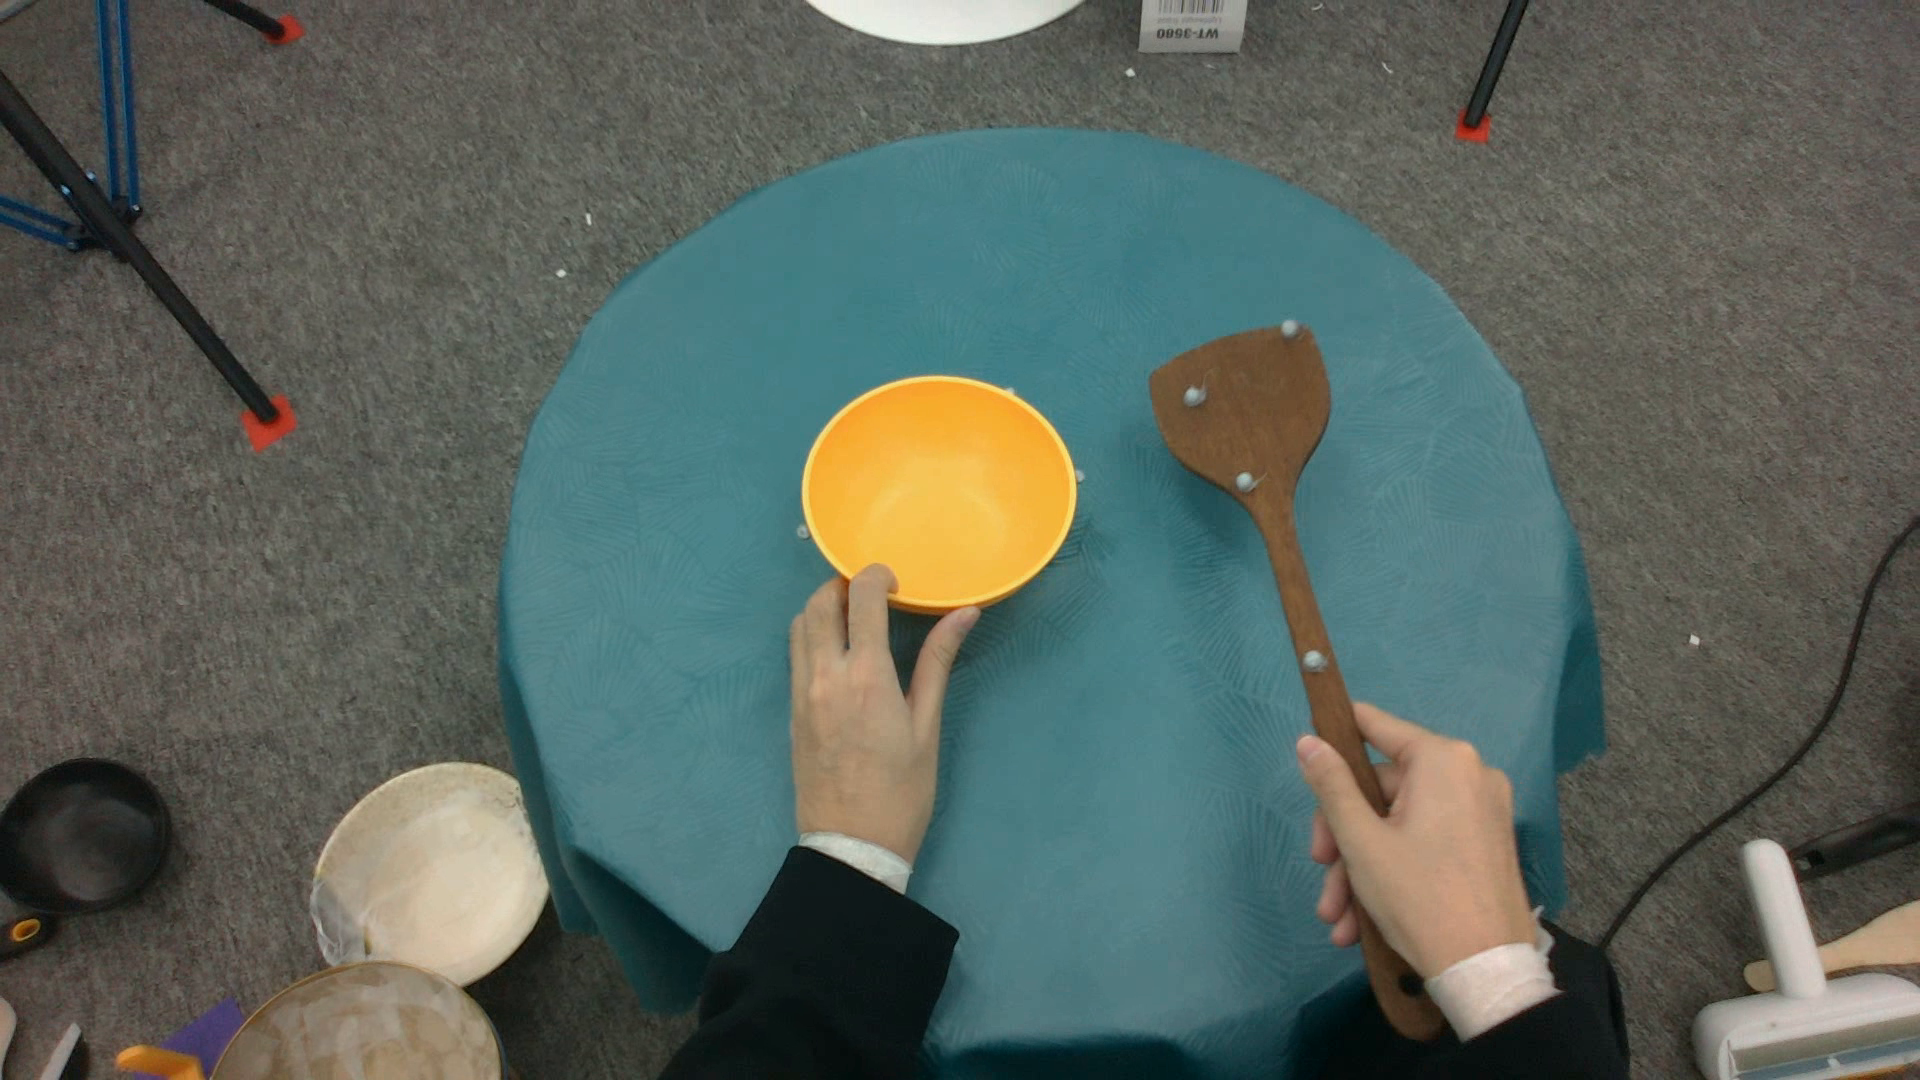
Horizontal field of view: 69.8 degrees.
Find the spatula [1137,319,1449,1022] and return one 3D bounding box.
[{"bbox_3d":[0.164,0.037,0.664,0.096,0.016,0.387,-16,52,10],"label":"spatula"}]

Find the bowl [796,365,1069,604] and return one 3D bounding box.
[{"bbox_3d":[-0.014,-0.021,0.750,0.145,0.060,0.146,-1,61,1],"label":"bowl"}]
